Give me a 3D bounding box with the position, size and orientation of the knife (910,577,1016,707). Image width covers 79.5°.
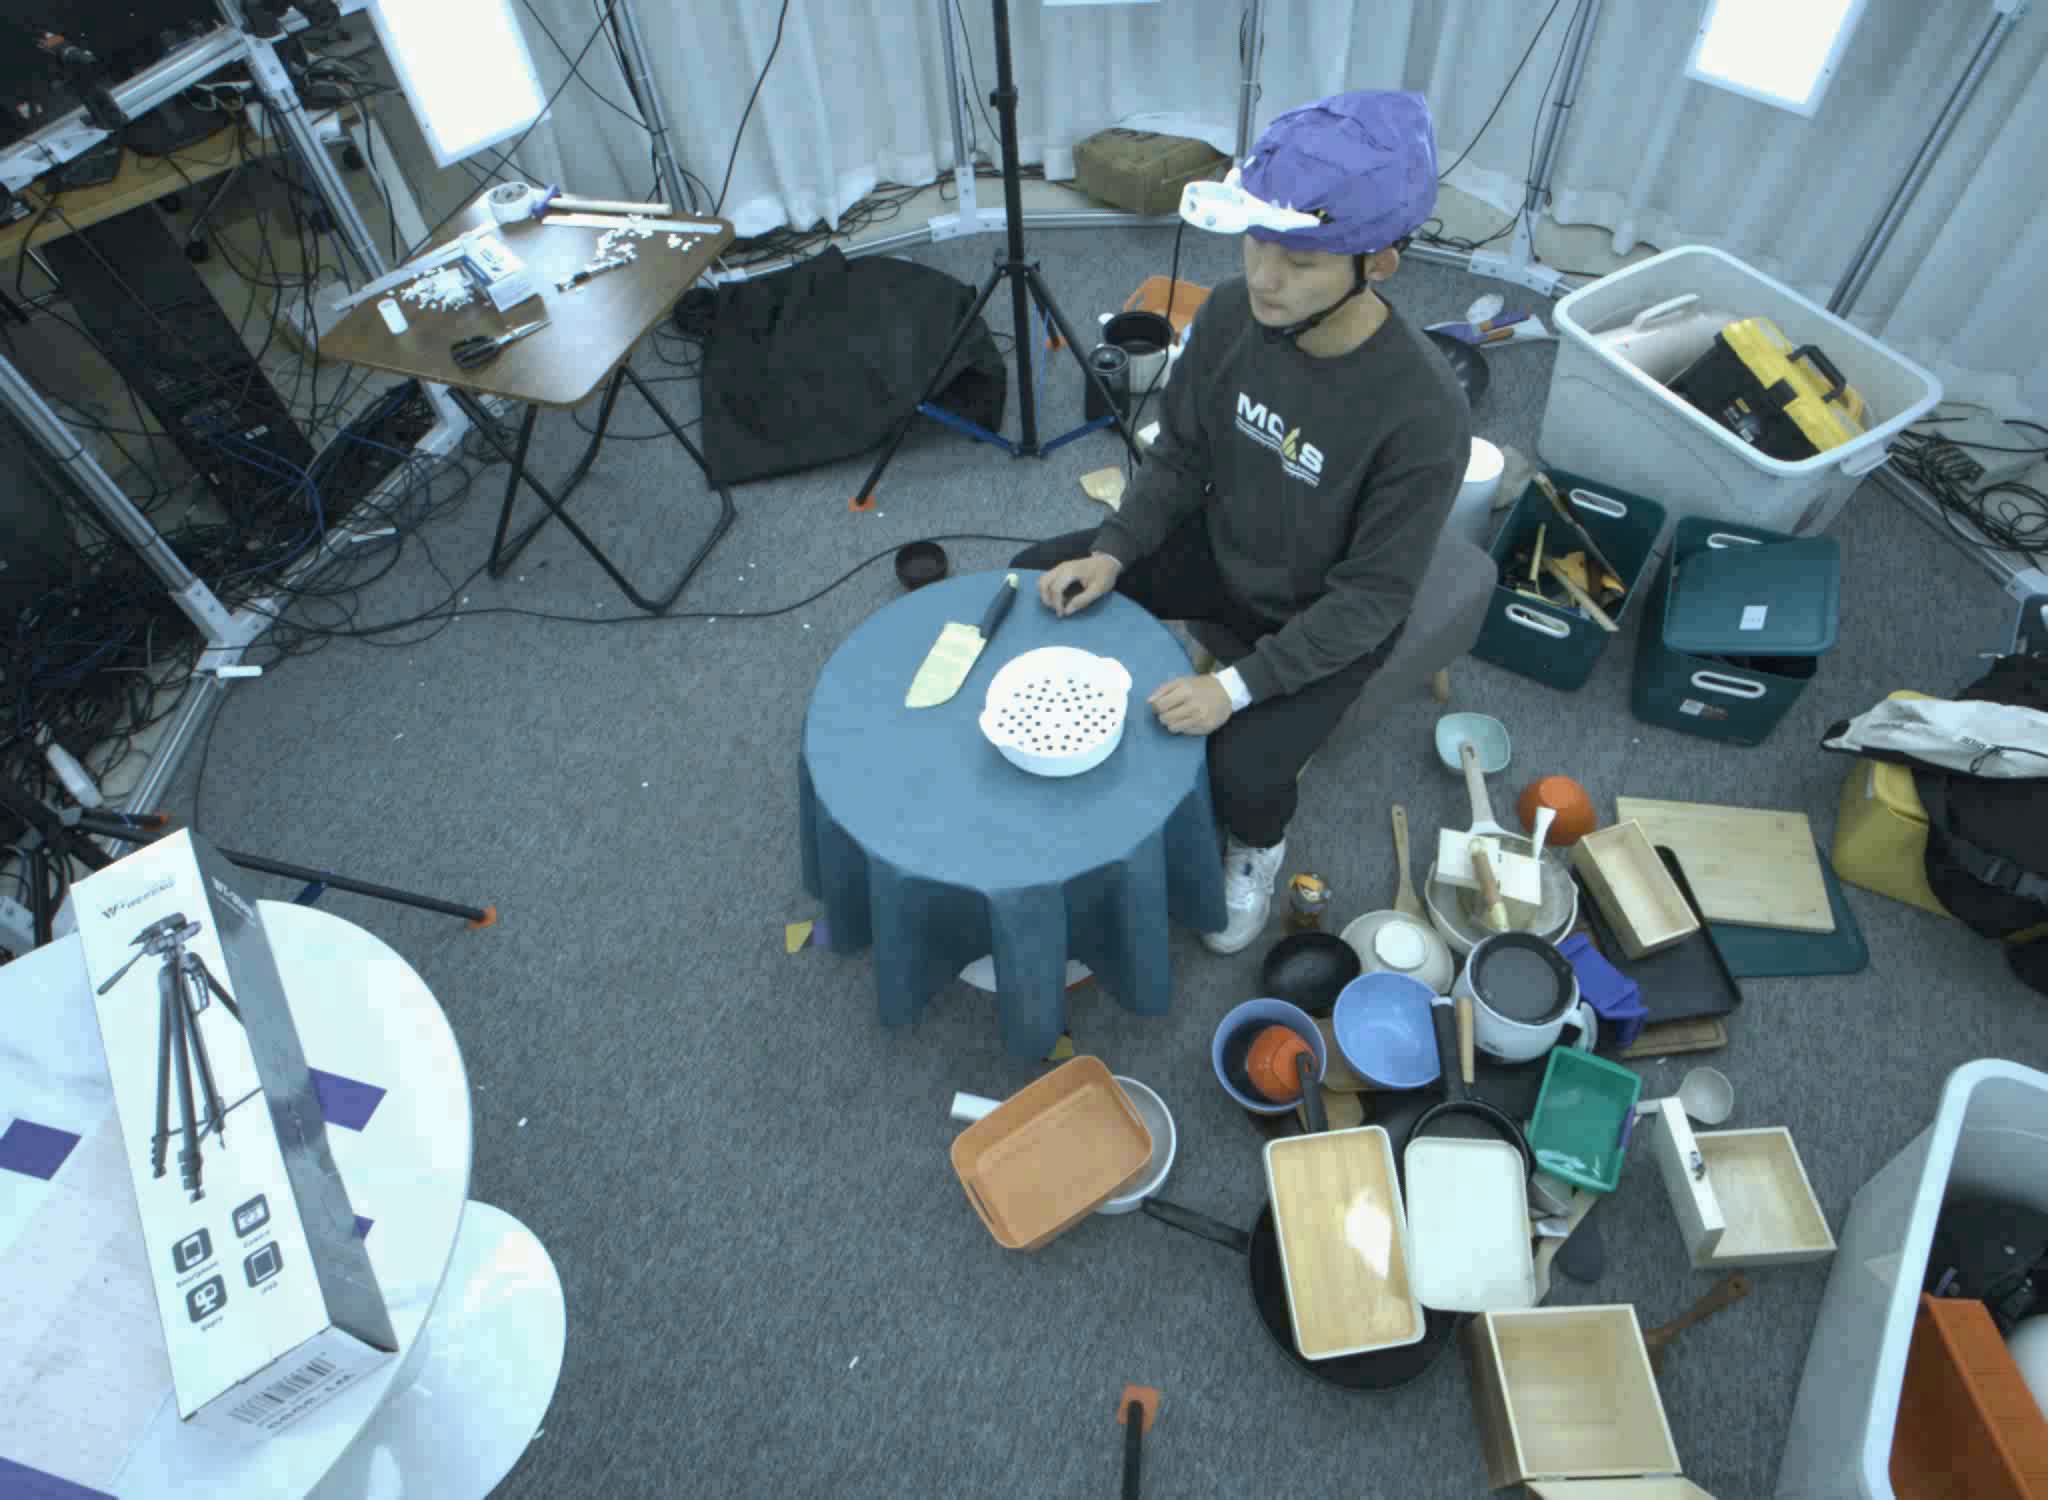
[{"bbox_3d":[-0.094,-0.172,1.912,0.080,0.027,0.290,23,59,15],"label":"knife"}]

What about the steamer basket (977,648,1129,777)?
[{"bbox_3d":[0.043,-0.053,1.791,0.232,0.070,0.198,-23,58,-16],"label":"steamer basket"}]
